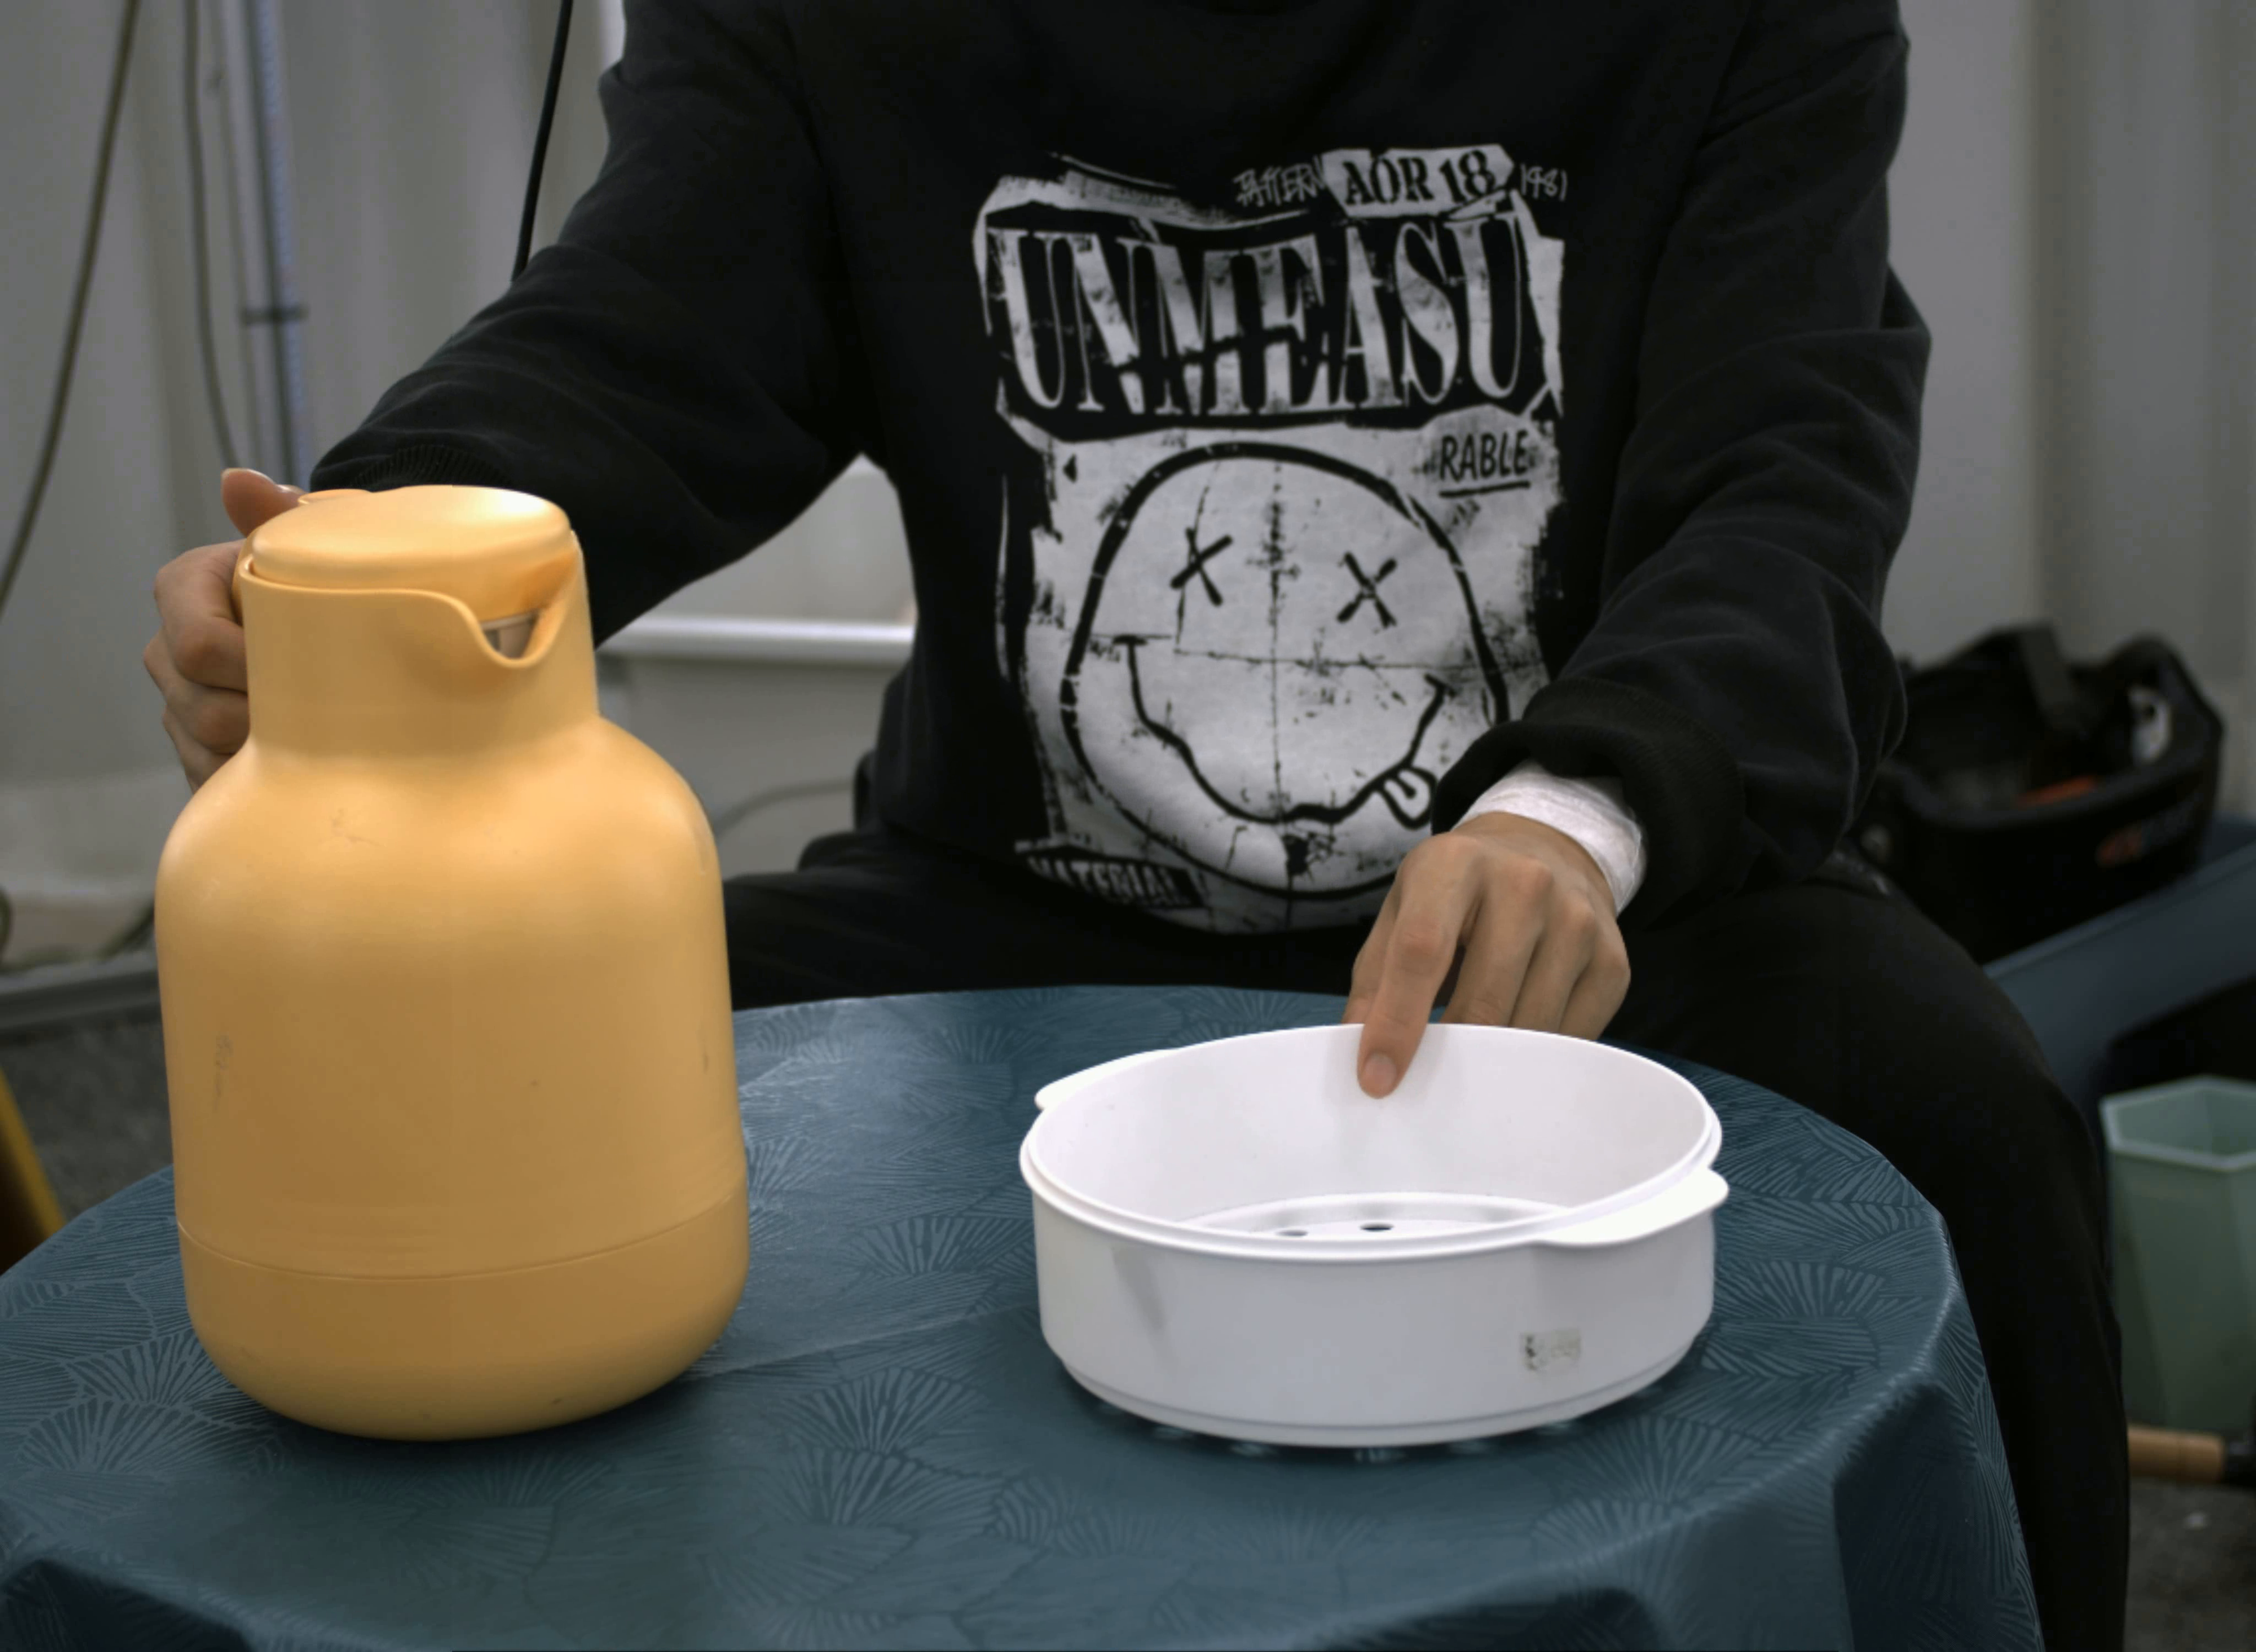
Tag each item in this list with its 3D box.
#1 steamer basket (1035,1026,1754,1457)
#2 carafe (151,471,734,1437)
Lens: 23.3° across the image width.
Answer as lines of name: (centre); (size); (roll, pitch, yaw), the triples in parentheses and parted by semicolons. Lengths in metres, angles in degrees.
steamer basket: (0.074, 0.118, 1.557); (0.232, 0.069, 0.201); (14, 21, 42)
carafe: (-0.203, 0.028, 1.572); (0.162, 0.259, 0.204); (-7, 16, -26)
